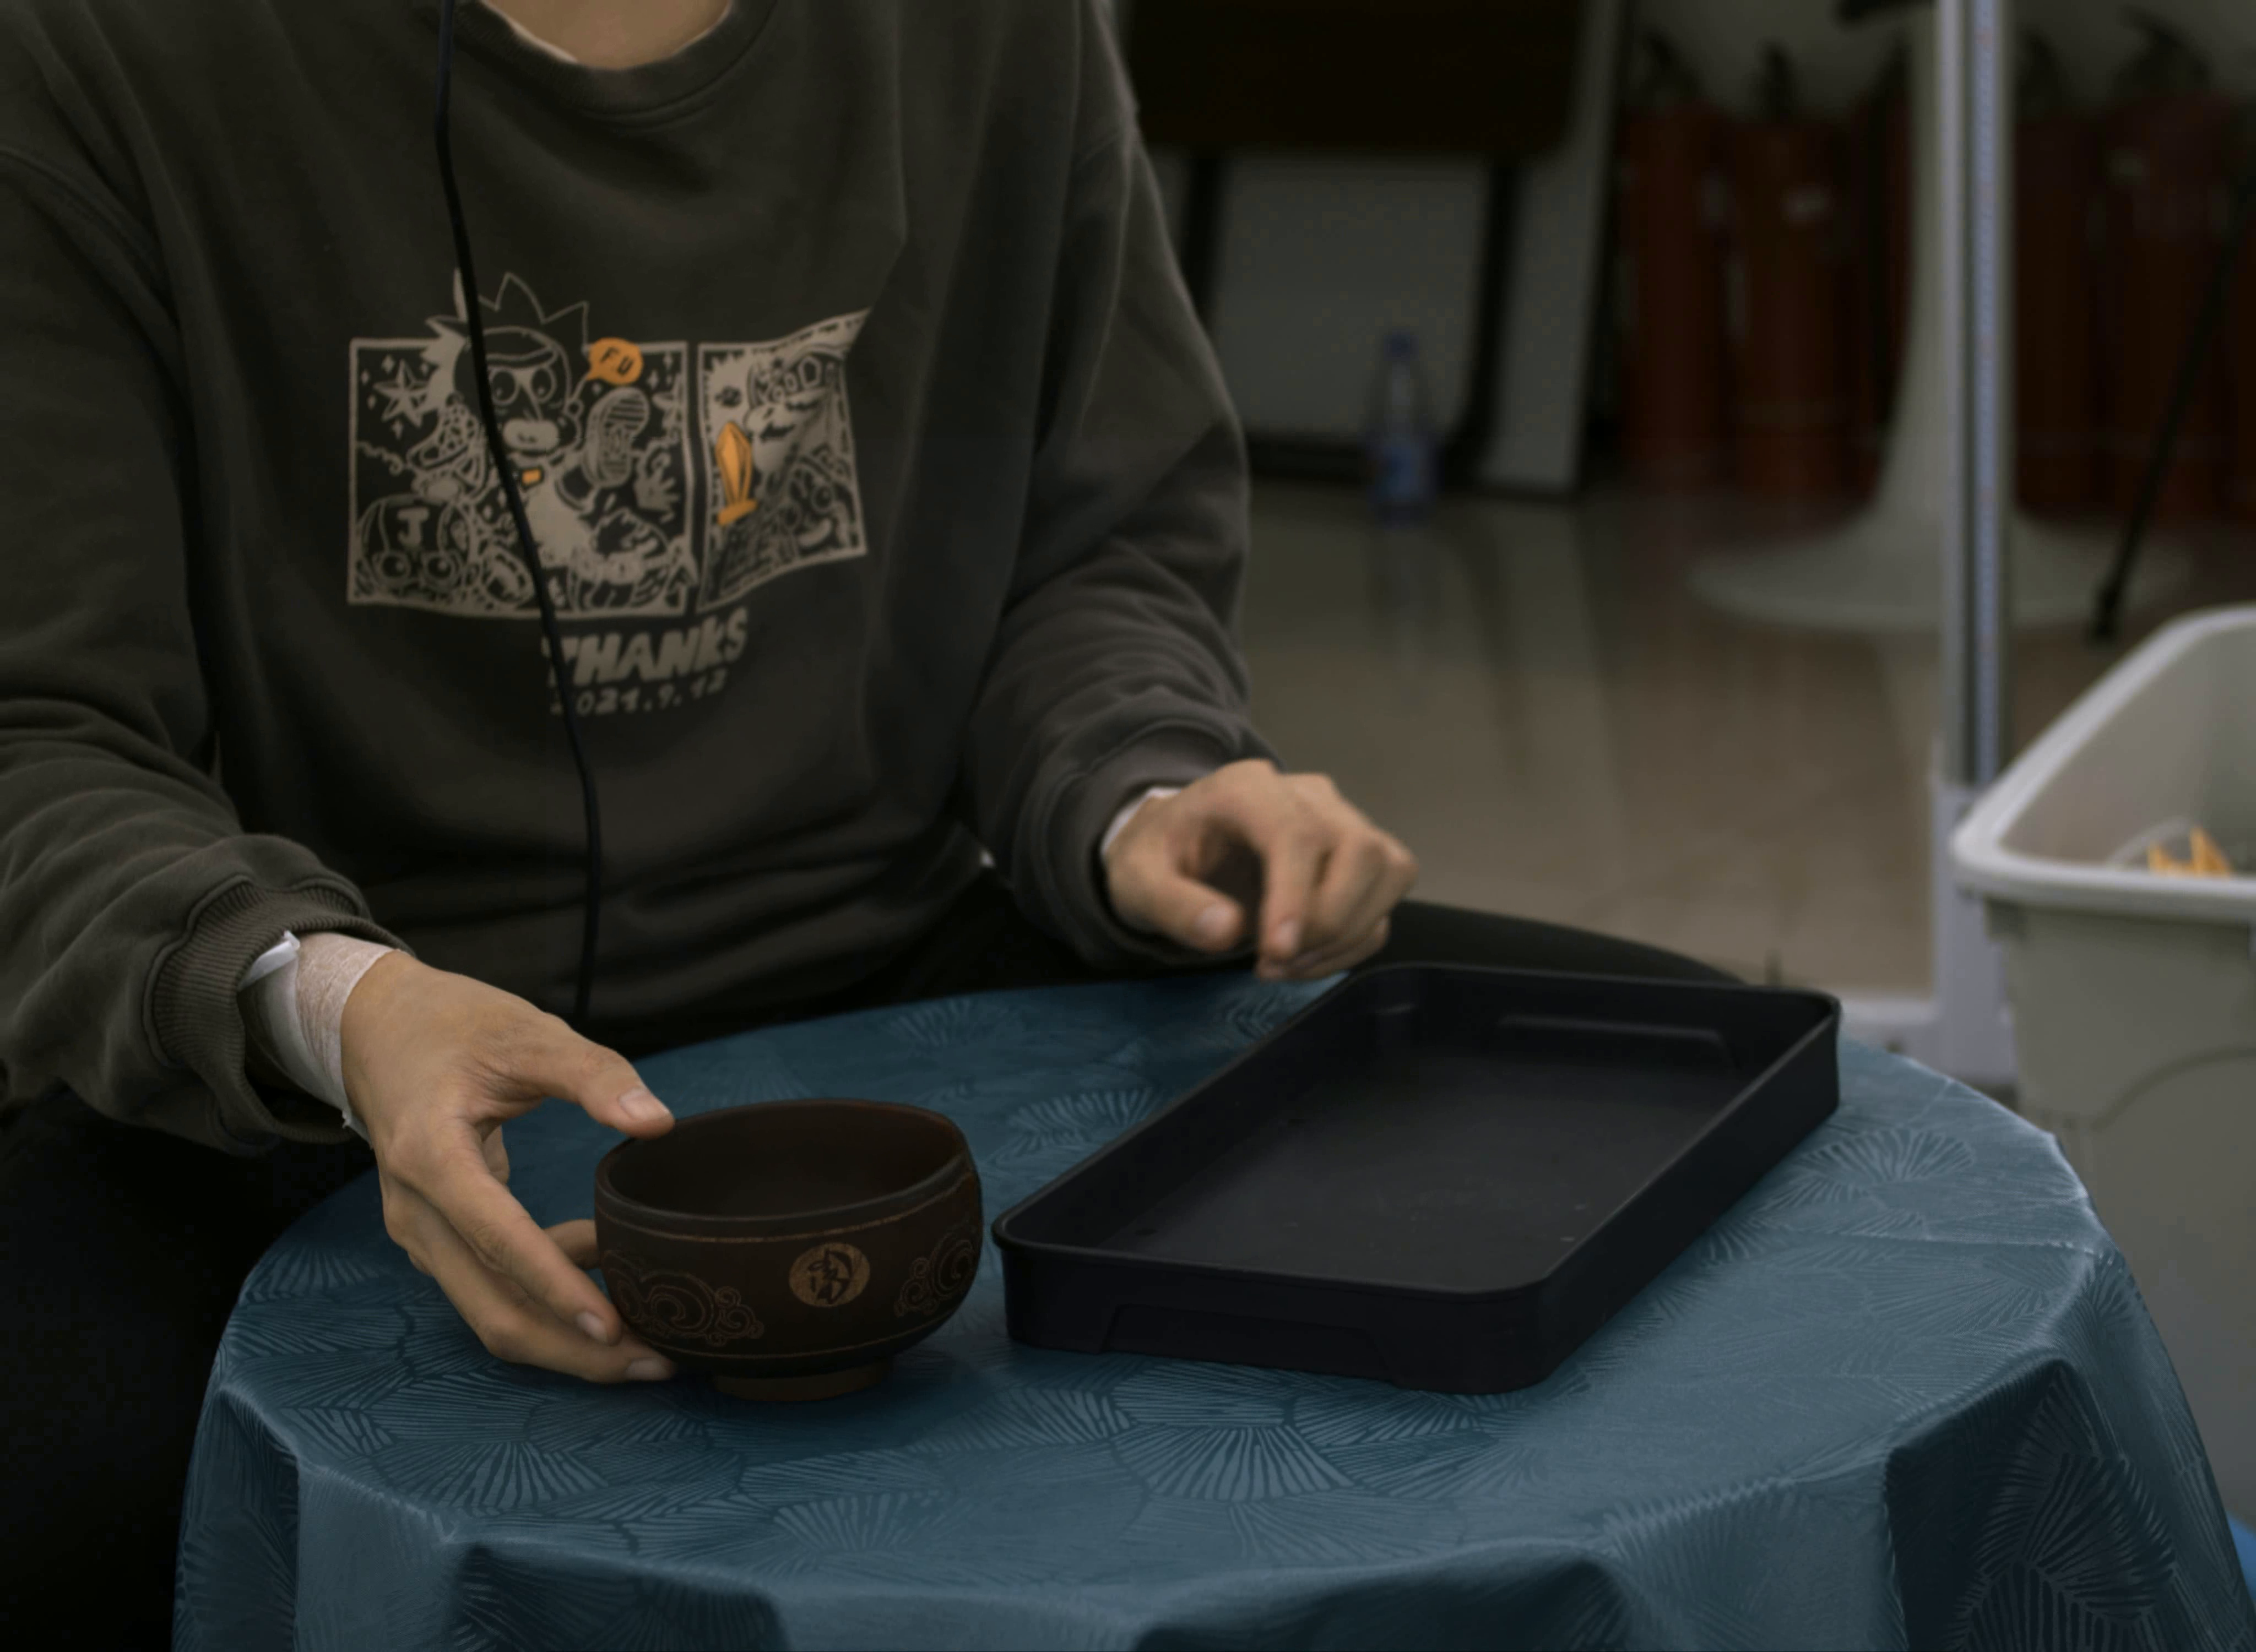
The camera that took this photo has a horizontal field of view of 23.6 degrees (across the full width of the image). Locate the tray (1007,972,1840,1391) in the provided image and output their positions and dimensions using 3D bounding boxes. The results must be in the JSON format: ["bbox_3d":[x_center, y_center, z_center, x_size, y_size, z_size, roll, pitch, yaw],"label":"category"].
[{"bbox_3d":[0.103,0.108,1.729,0.184,0.037,0.314,2,15,25],"label":"tray"}]

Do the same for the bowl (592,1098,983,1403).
[{"bbox_3d":[-0.100,0.130,1.615,0.116,0.070,0.118,-5,12,0],"label":"bowl"}]
